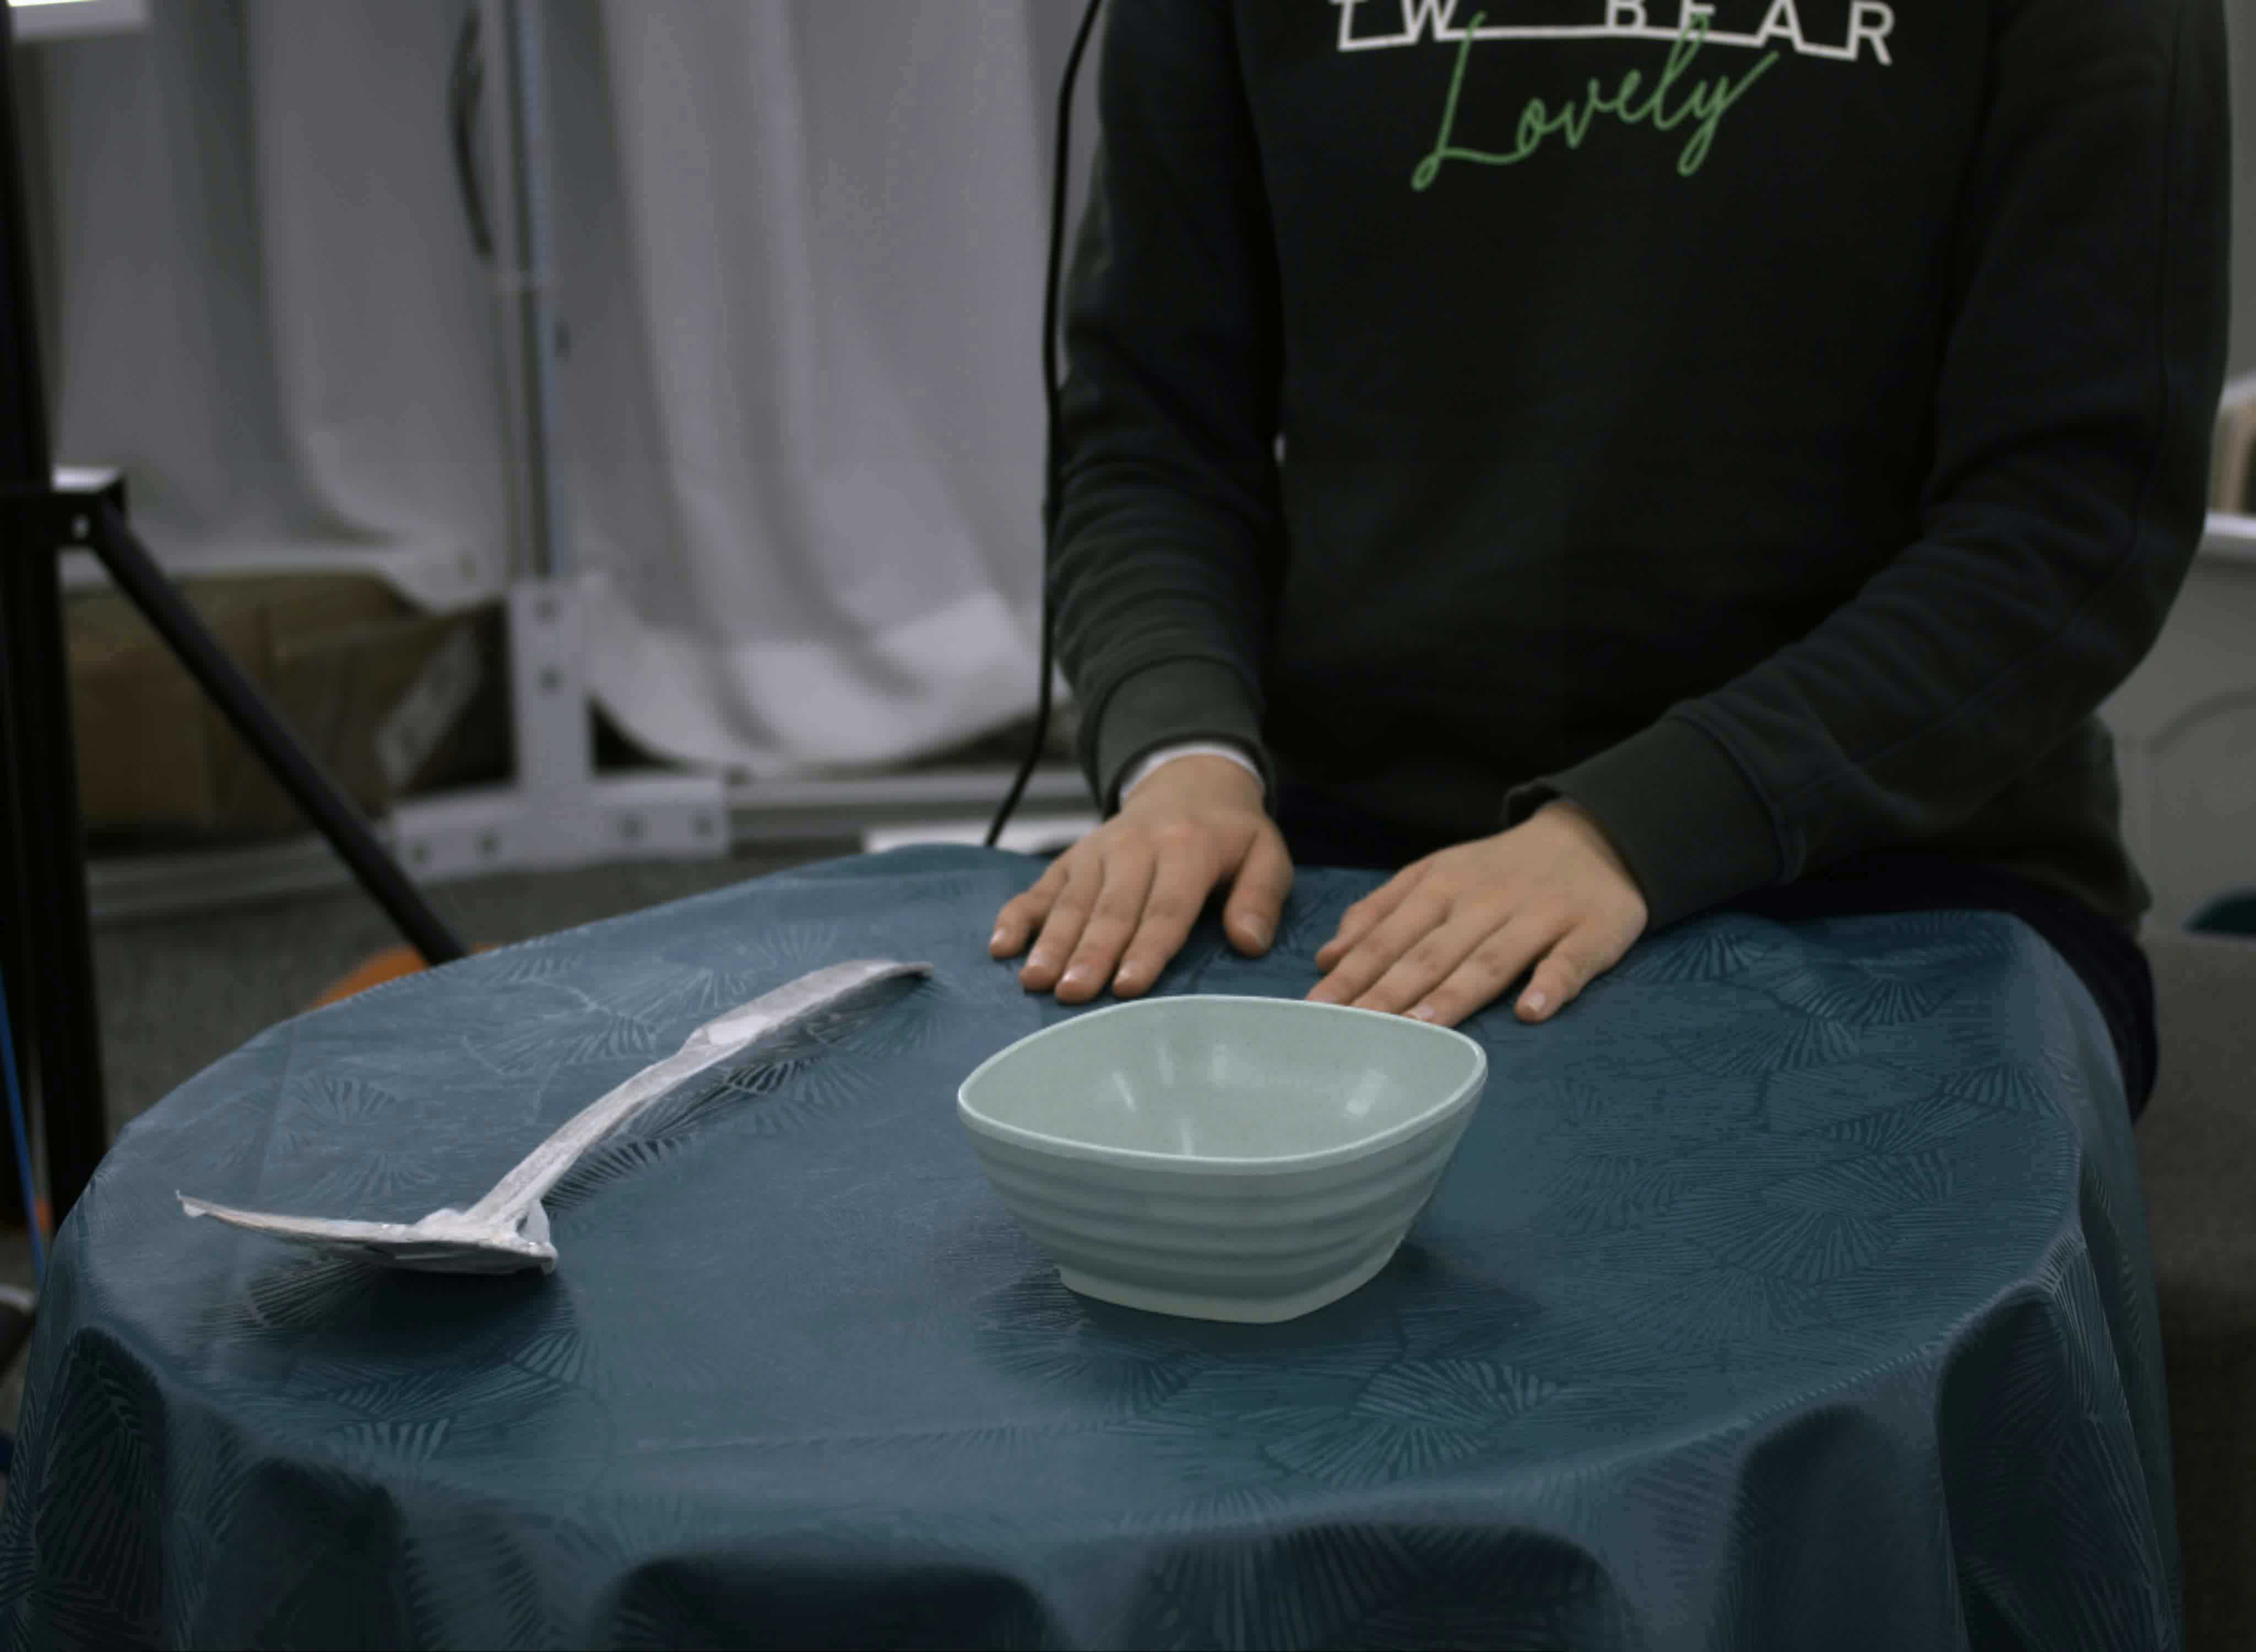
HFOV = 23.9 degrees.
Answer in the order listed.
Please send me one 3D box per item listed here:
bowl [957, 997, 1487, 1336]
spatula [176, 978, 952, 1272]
[{"bbox_3d":[0.027,0.099,1.489,0.150,0.058,0.152,-2,16,-1],"label":"bowl"},{"bbox_3d":[-0.148,0.080,1.610,0.100,0.045,0.359,3,17,27],"label":"spatula"}]
